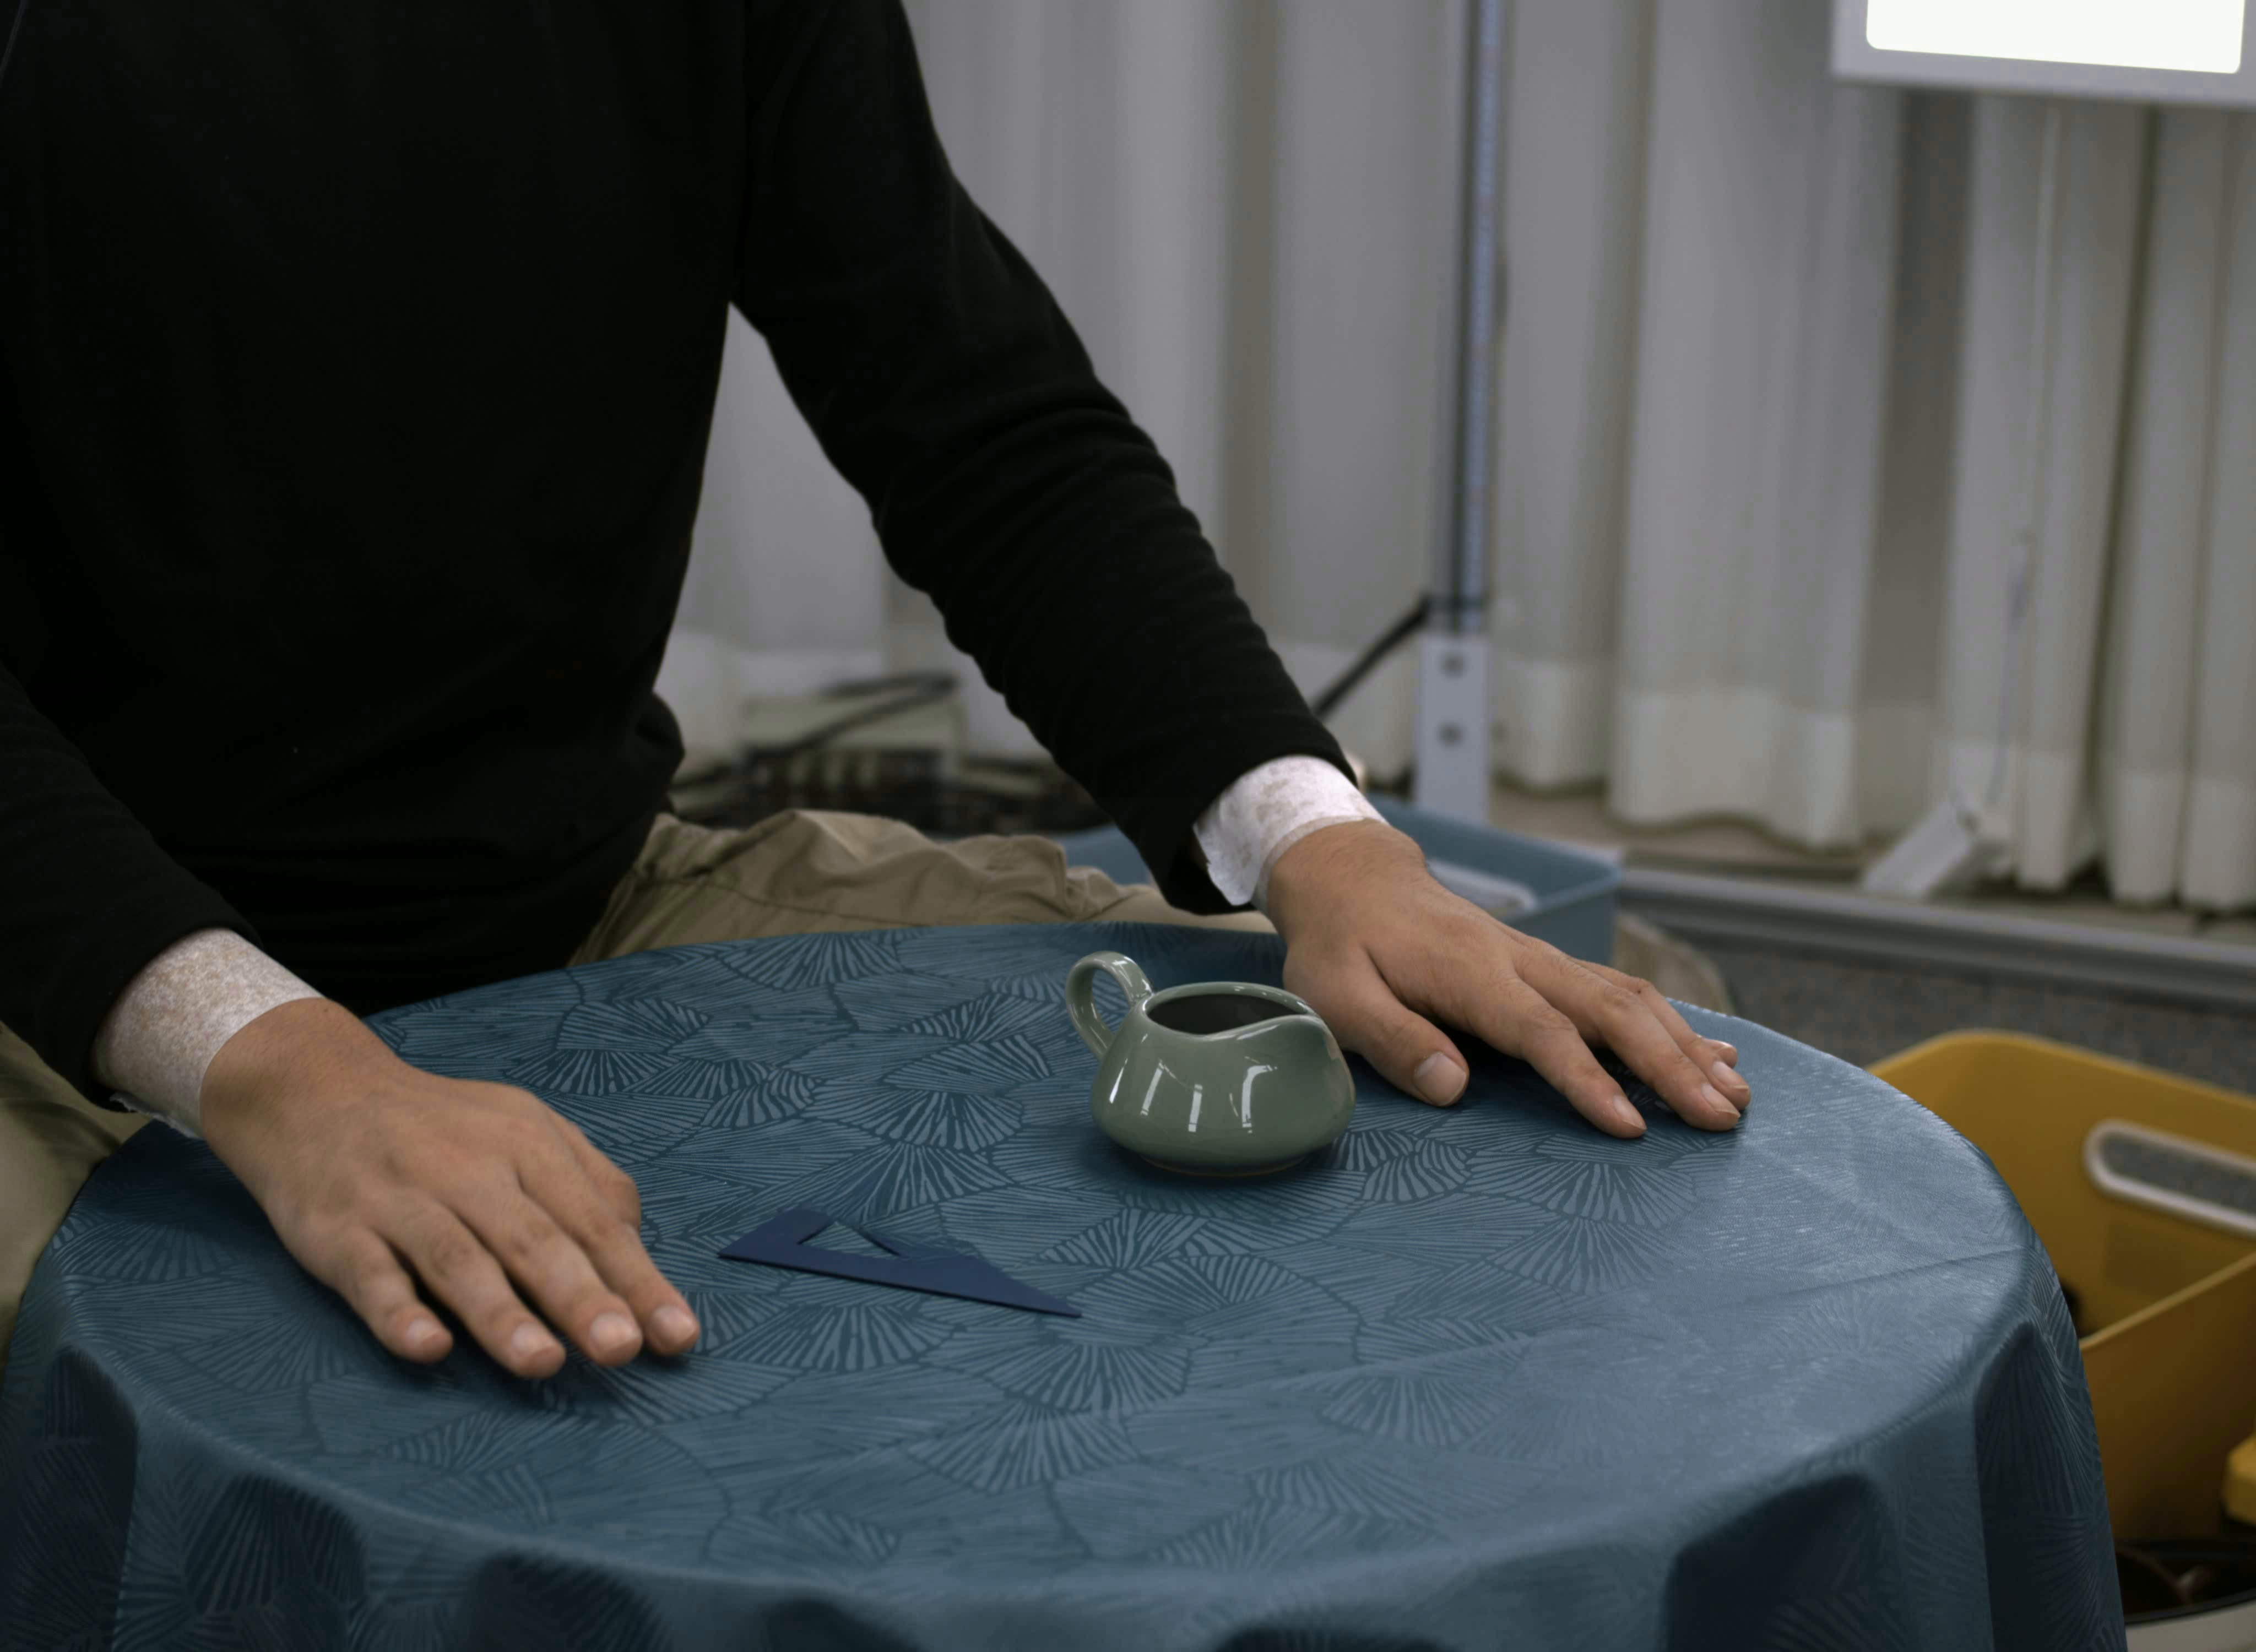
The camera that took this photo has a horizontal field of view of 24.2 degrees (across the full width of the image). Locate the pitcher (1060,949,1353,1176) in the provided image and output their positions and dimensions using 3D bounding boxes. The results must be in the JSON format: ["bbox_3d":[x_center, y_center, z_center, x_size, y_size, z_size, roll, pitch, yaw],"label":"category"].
[{"bbox_3d":[0.024,0.074,1.654,0.111,0.056,0.084,13,18,38],"label":"pitcher"}]

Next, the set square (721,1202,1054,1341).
[{"bbox_3d":[-0.076,0.132,1.539,0.061,0.006,0.130,-8,18,-31],"label":"set square"}]
